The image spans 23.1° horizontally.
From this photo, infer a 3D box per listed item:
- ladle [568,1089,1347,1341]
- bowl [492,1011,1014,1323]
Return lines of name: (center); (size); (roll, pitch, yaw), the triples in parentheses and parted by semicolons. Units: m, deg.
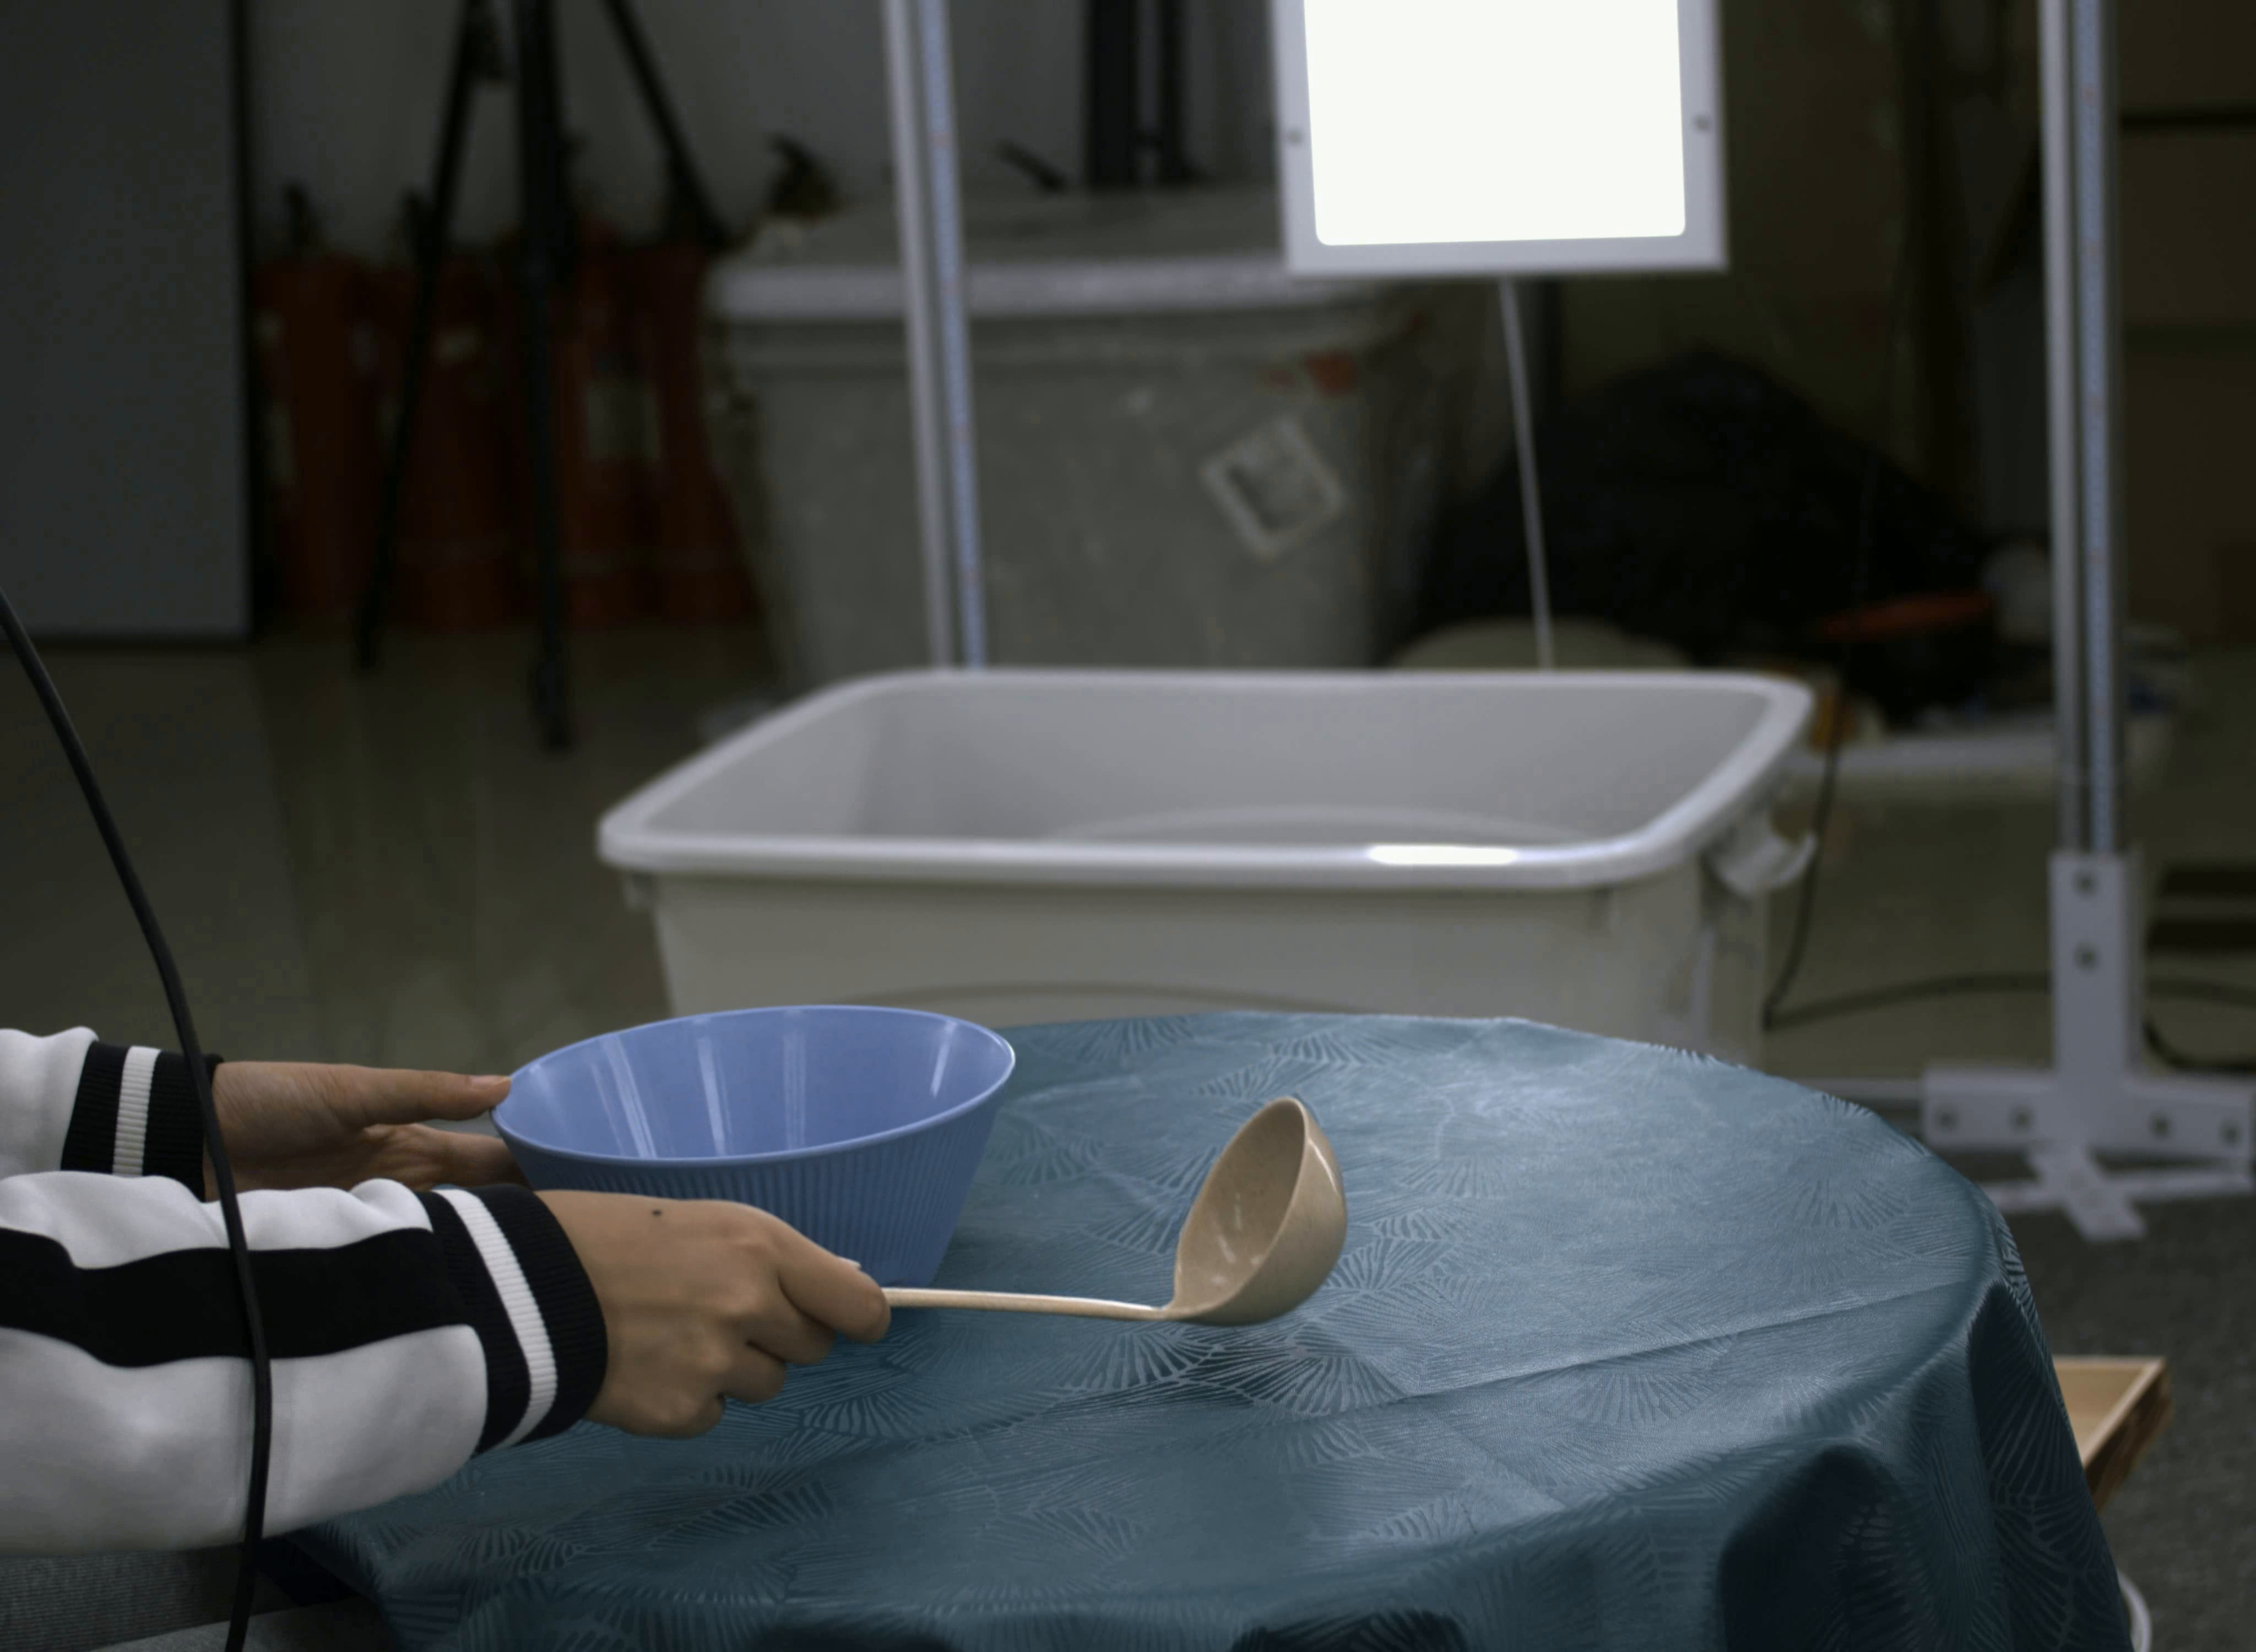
ladle: (-0.052, 0.116, 1.670); (0.249, 0.073, 0.073); (1, -5, -26)
bowl: (-0.122, 0.116, 1.839); (0.175, 0.070, 0.176); (-5, 13, 0)
